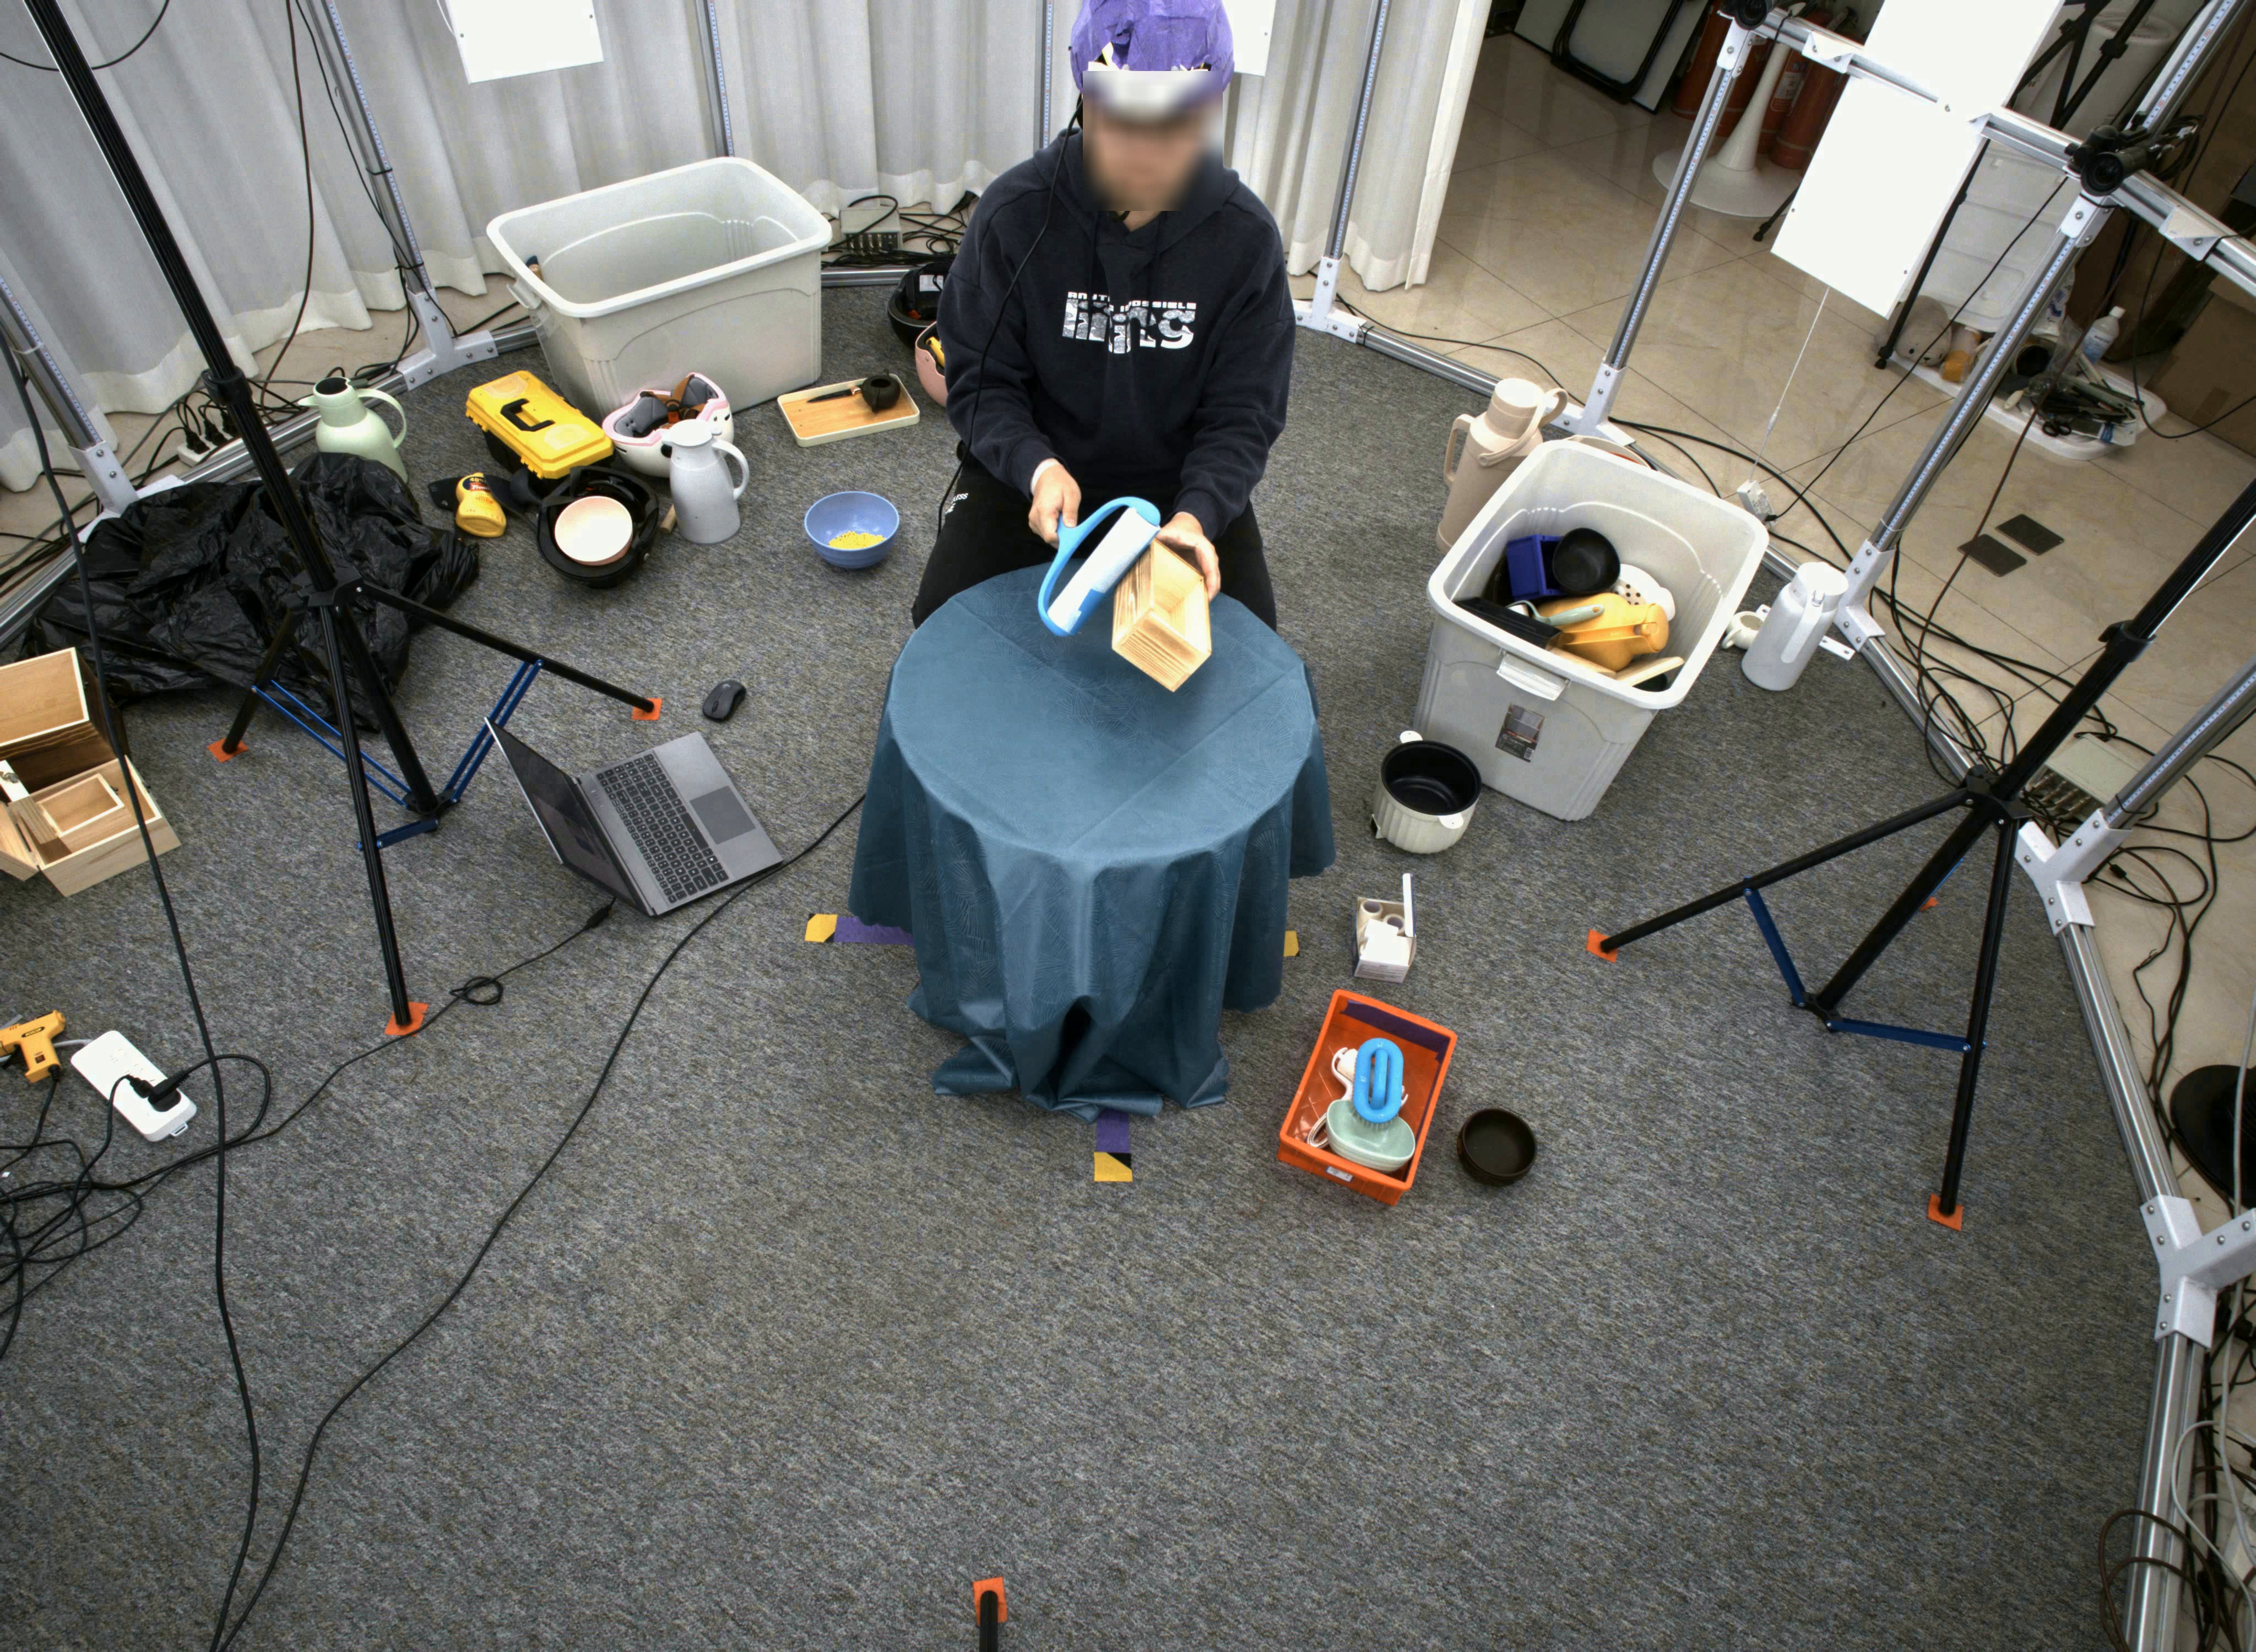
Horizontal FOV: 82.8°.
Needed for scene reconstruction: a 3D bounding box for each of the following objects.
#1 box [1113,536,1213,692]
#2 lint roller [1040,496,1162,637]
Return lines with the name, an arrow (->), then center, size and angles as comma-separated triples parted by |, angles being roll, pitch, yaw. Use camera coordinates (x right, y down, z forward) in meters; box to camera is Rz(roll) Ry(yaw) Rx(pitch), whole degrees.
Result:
box -> 0.047, -0.293, 1.751 | 0.106, 0.079, 0.216 | 33, 31, -23
lint roller -> -0.066, -0.397, 1.819 | 0.067, 0.226, 0.184 | 9, 35, -53
